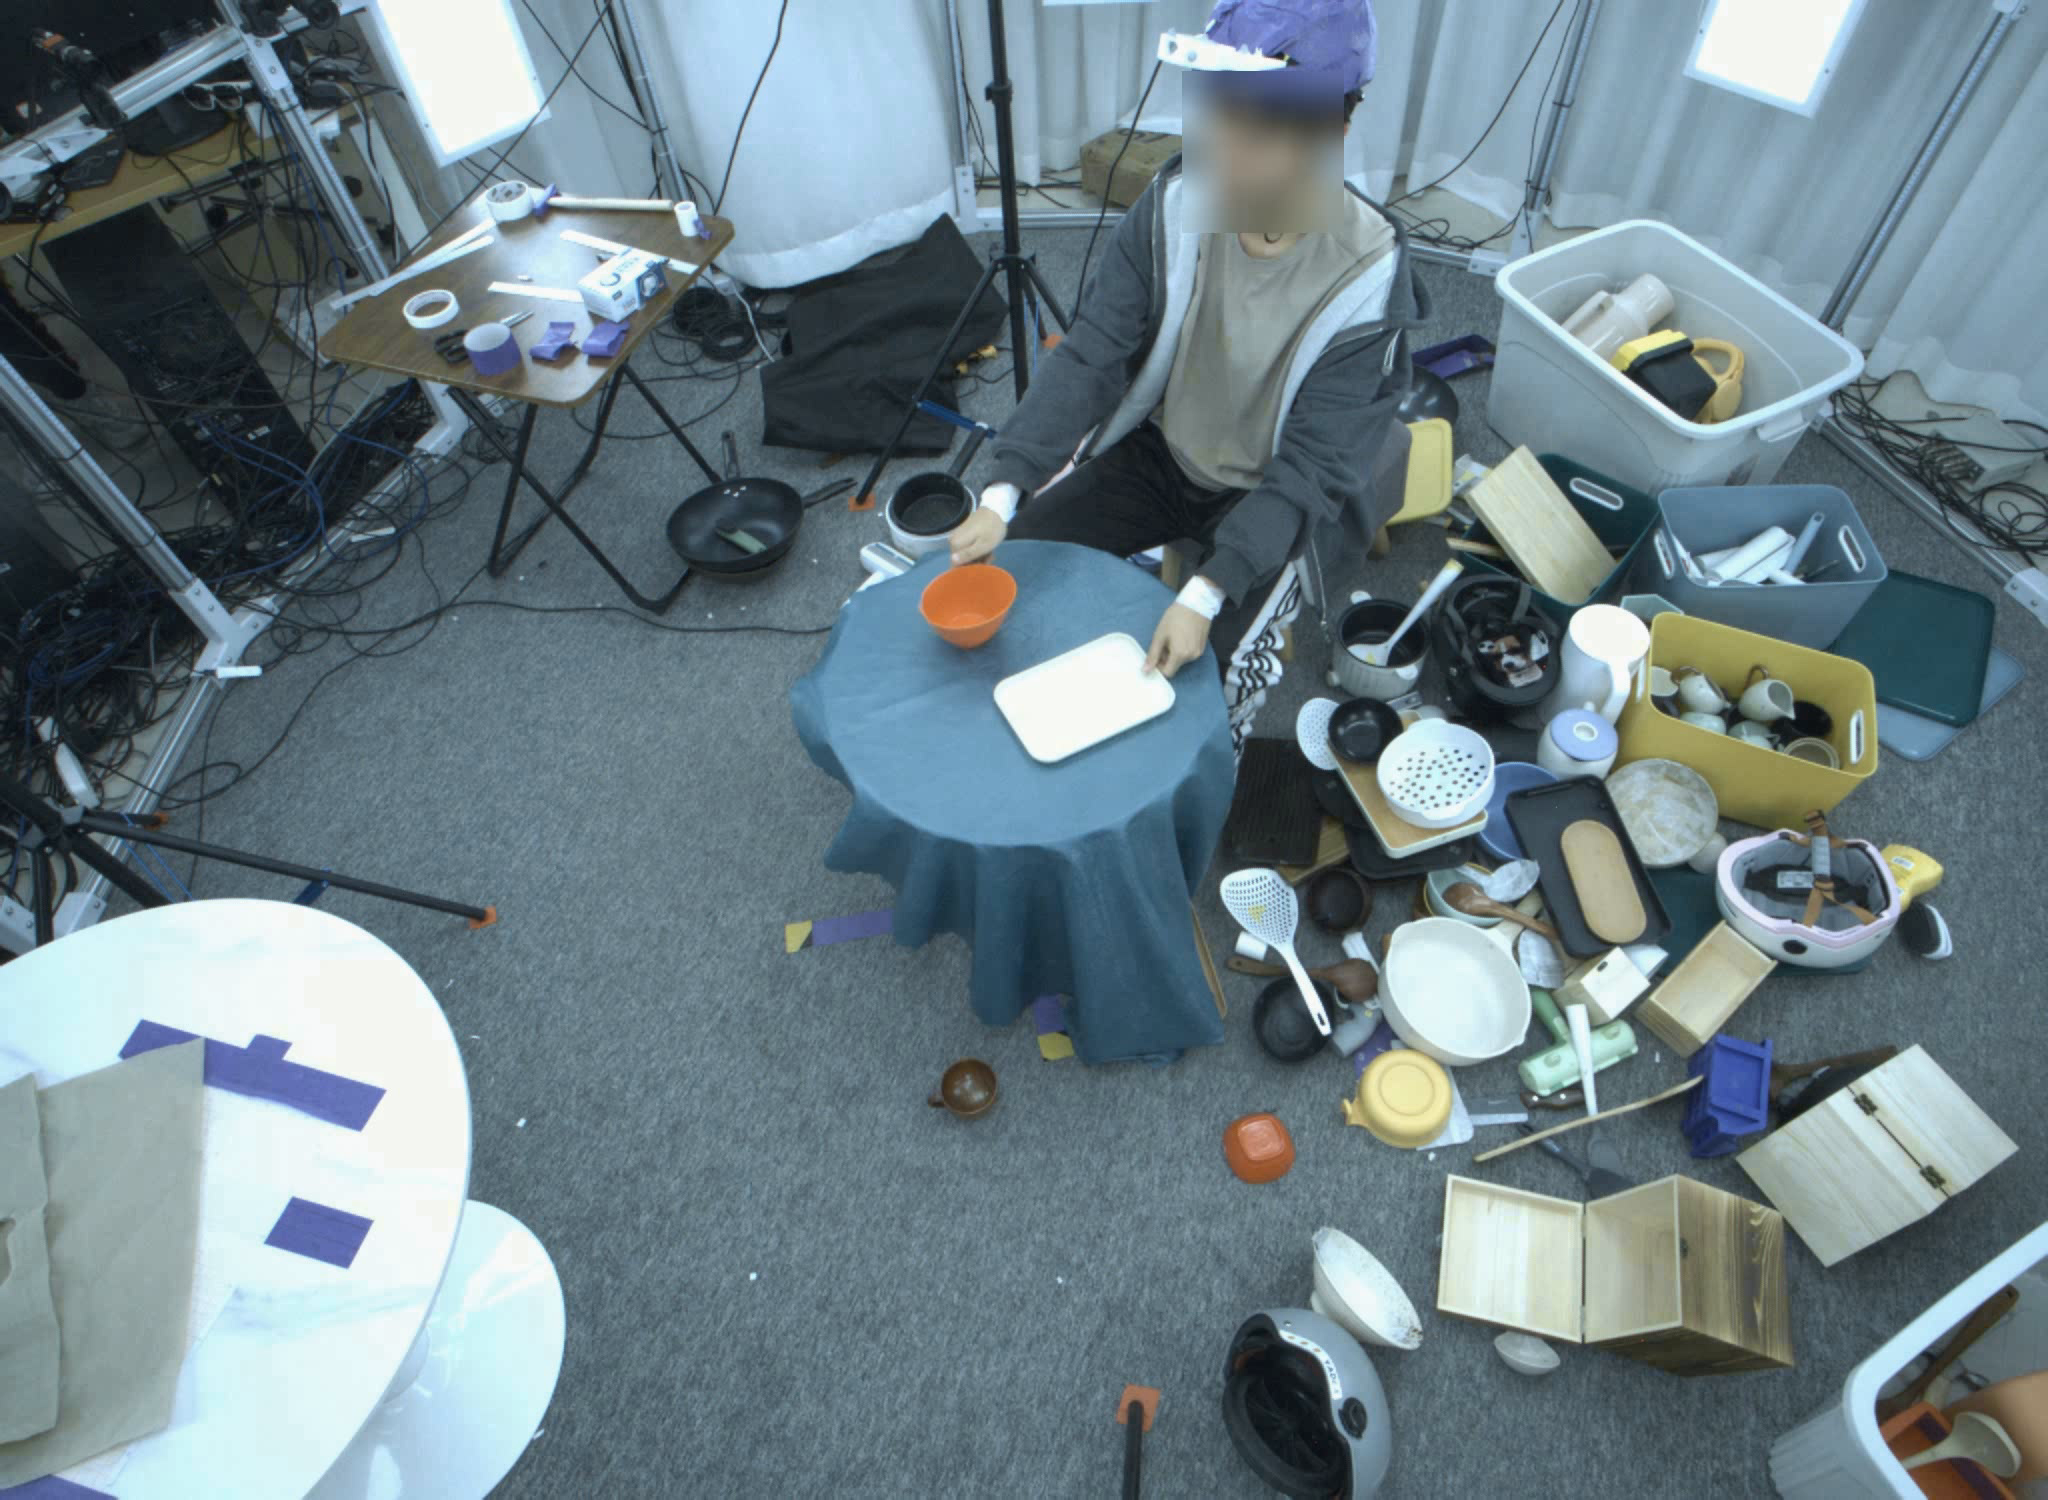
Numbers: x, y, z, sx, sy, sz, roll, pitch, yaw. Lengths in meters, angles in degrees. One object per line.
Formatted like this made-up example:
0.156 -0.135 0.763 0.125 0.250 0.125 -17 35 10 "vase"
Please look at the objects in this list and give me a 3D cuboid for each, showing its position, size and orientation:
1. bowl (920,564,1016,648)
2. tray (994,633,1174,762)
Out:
-0.083 -0.207 1.878 0.148 0.106 0.146 -1 56 3 "bowl"
0.089 -0.079 1.832 0.241 0.017 0.168 -24 57 -15 "tray"
